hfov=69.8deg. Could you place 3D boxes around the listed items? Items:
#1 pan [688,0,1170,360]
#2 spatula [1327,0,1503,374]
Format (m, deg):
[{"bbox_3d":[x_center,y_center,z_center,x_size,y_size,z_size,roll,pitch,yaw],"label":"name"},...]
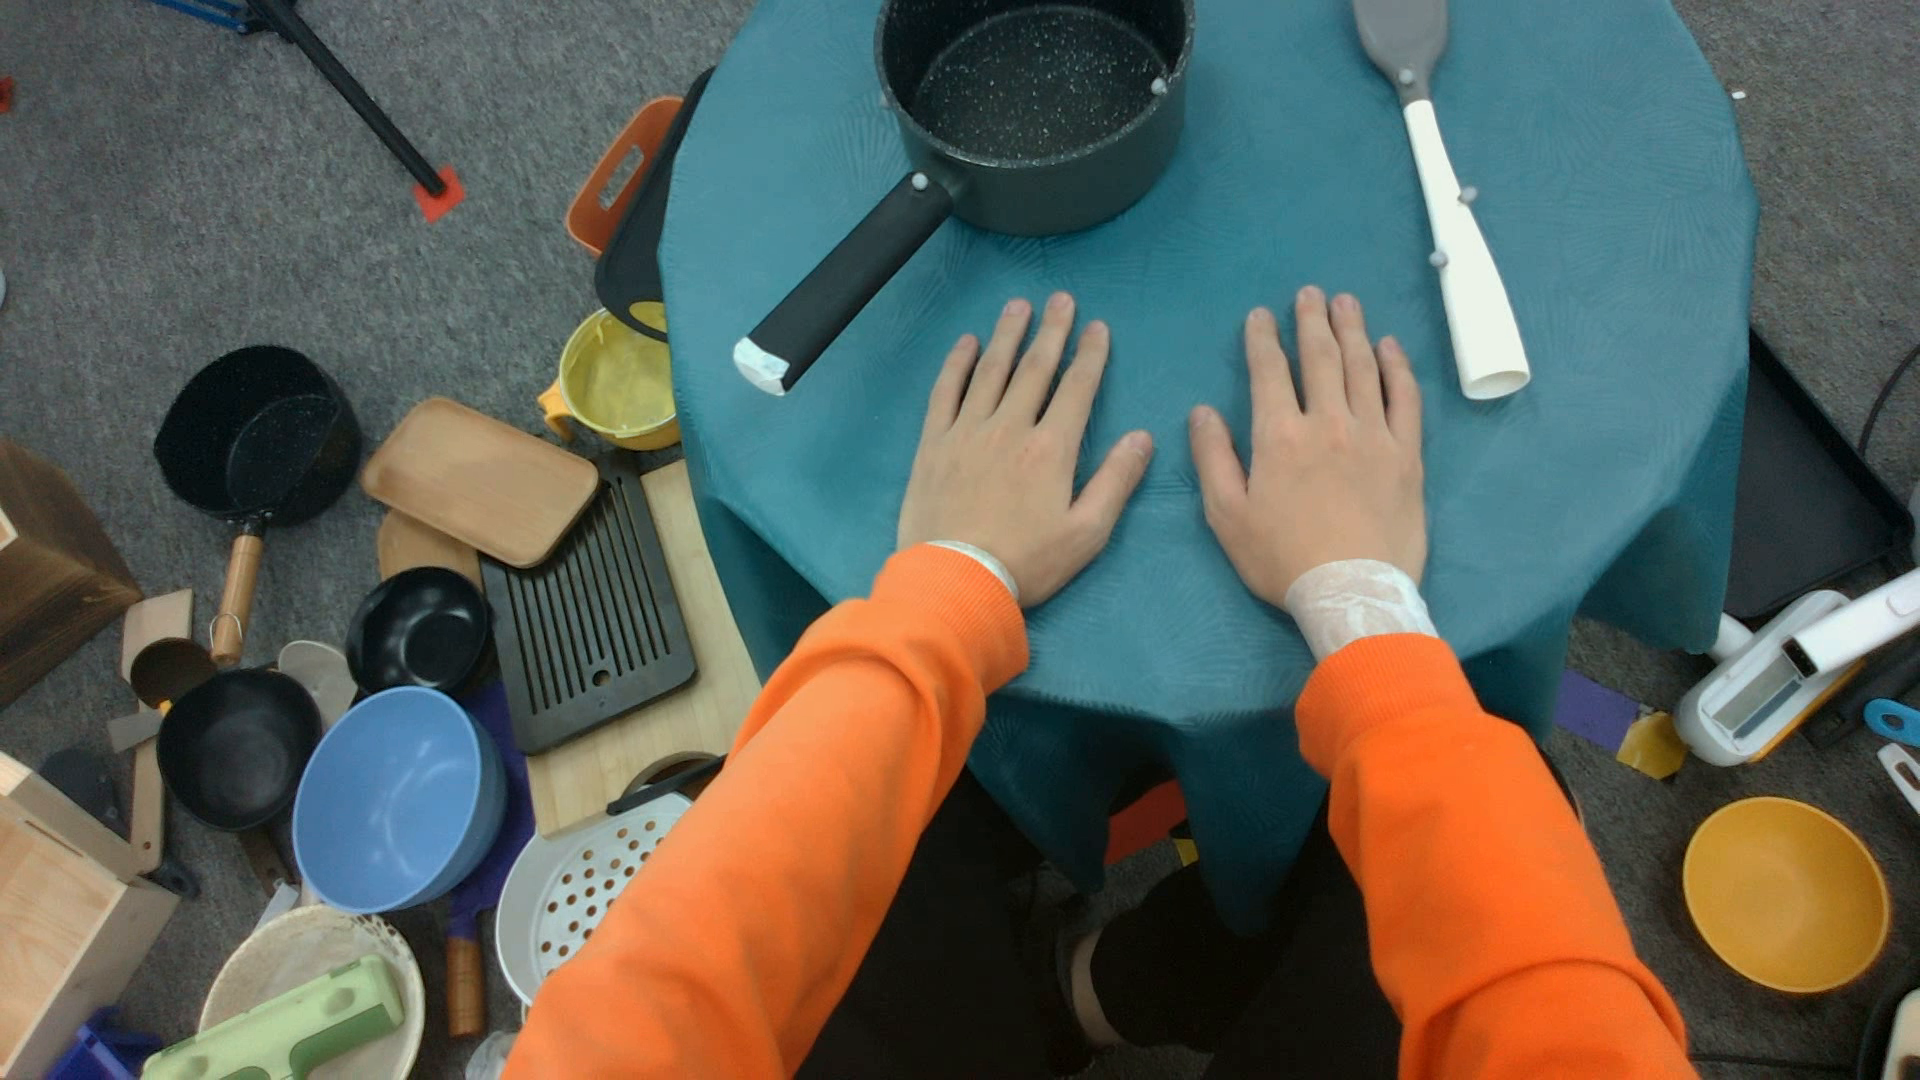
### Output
[{"bbox_3d":[-0.019,-0.208,0.745,0.172,0.086,0.329,34,75,18],"label":"pan"},{"bbox_3d":[0.244,-0.224,0.747,0.058,0.032,0.288,-9,69,7],"label":"spatula"}]
